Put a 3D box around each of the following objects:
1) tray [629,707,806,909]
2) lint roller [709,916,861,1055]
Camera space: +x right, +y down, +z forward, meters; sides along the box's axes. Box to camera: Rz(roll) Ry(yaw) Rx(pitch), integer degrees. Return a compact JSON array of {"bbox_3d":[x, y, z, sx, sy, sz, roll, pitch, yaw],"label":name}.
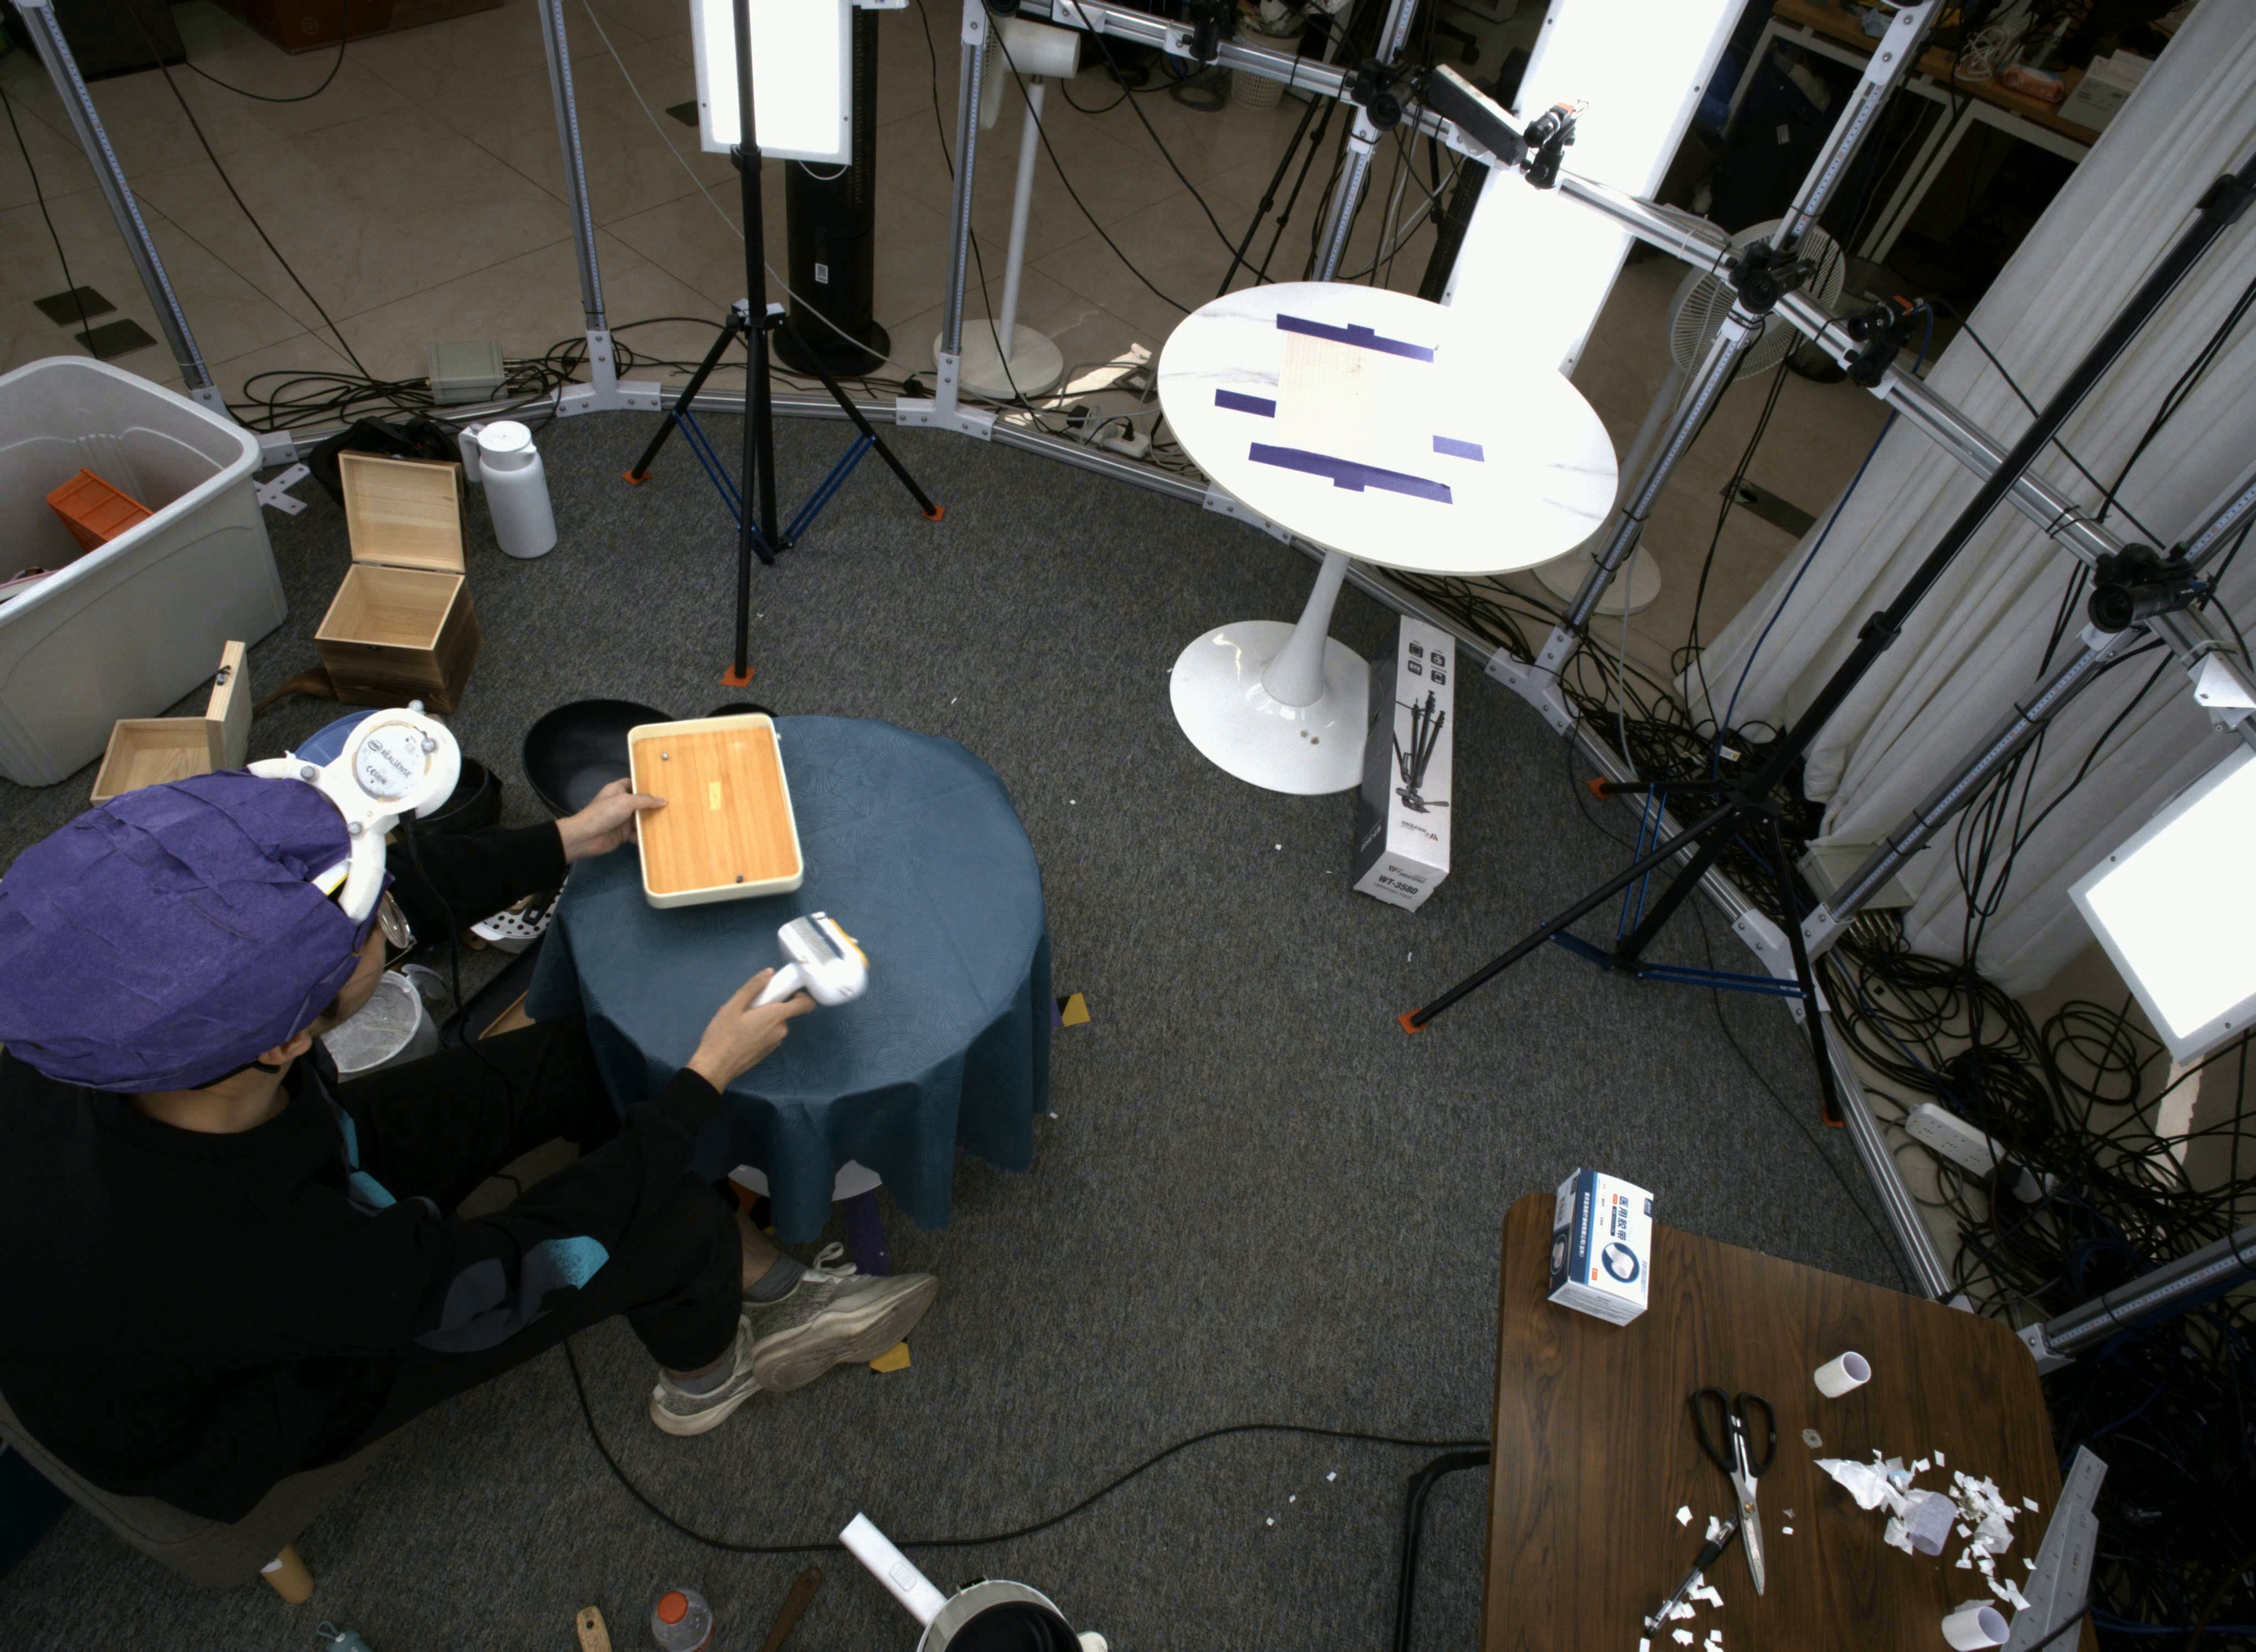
[{"bbox_3d":[-0.531,-0.031,1.653,0.192,0.028,0.292,-10,52,-19],"label":"tray"},{"bbox_3d":[-0.404,0.185,1.484,0.192,0.077,0.186,-31,26,-13],"label":"lint roller"}]
